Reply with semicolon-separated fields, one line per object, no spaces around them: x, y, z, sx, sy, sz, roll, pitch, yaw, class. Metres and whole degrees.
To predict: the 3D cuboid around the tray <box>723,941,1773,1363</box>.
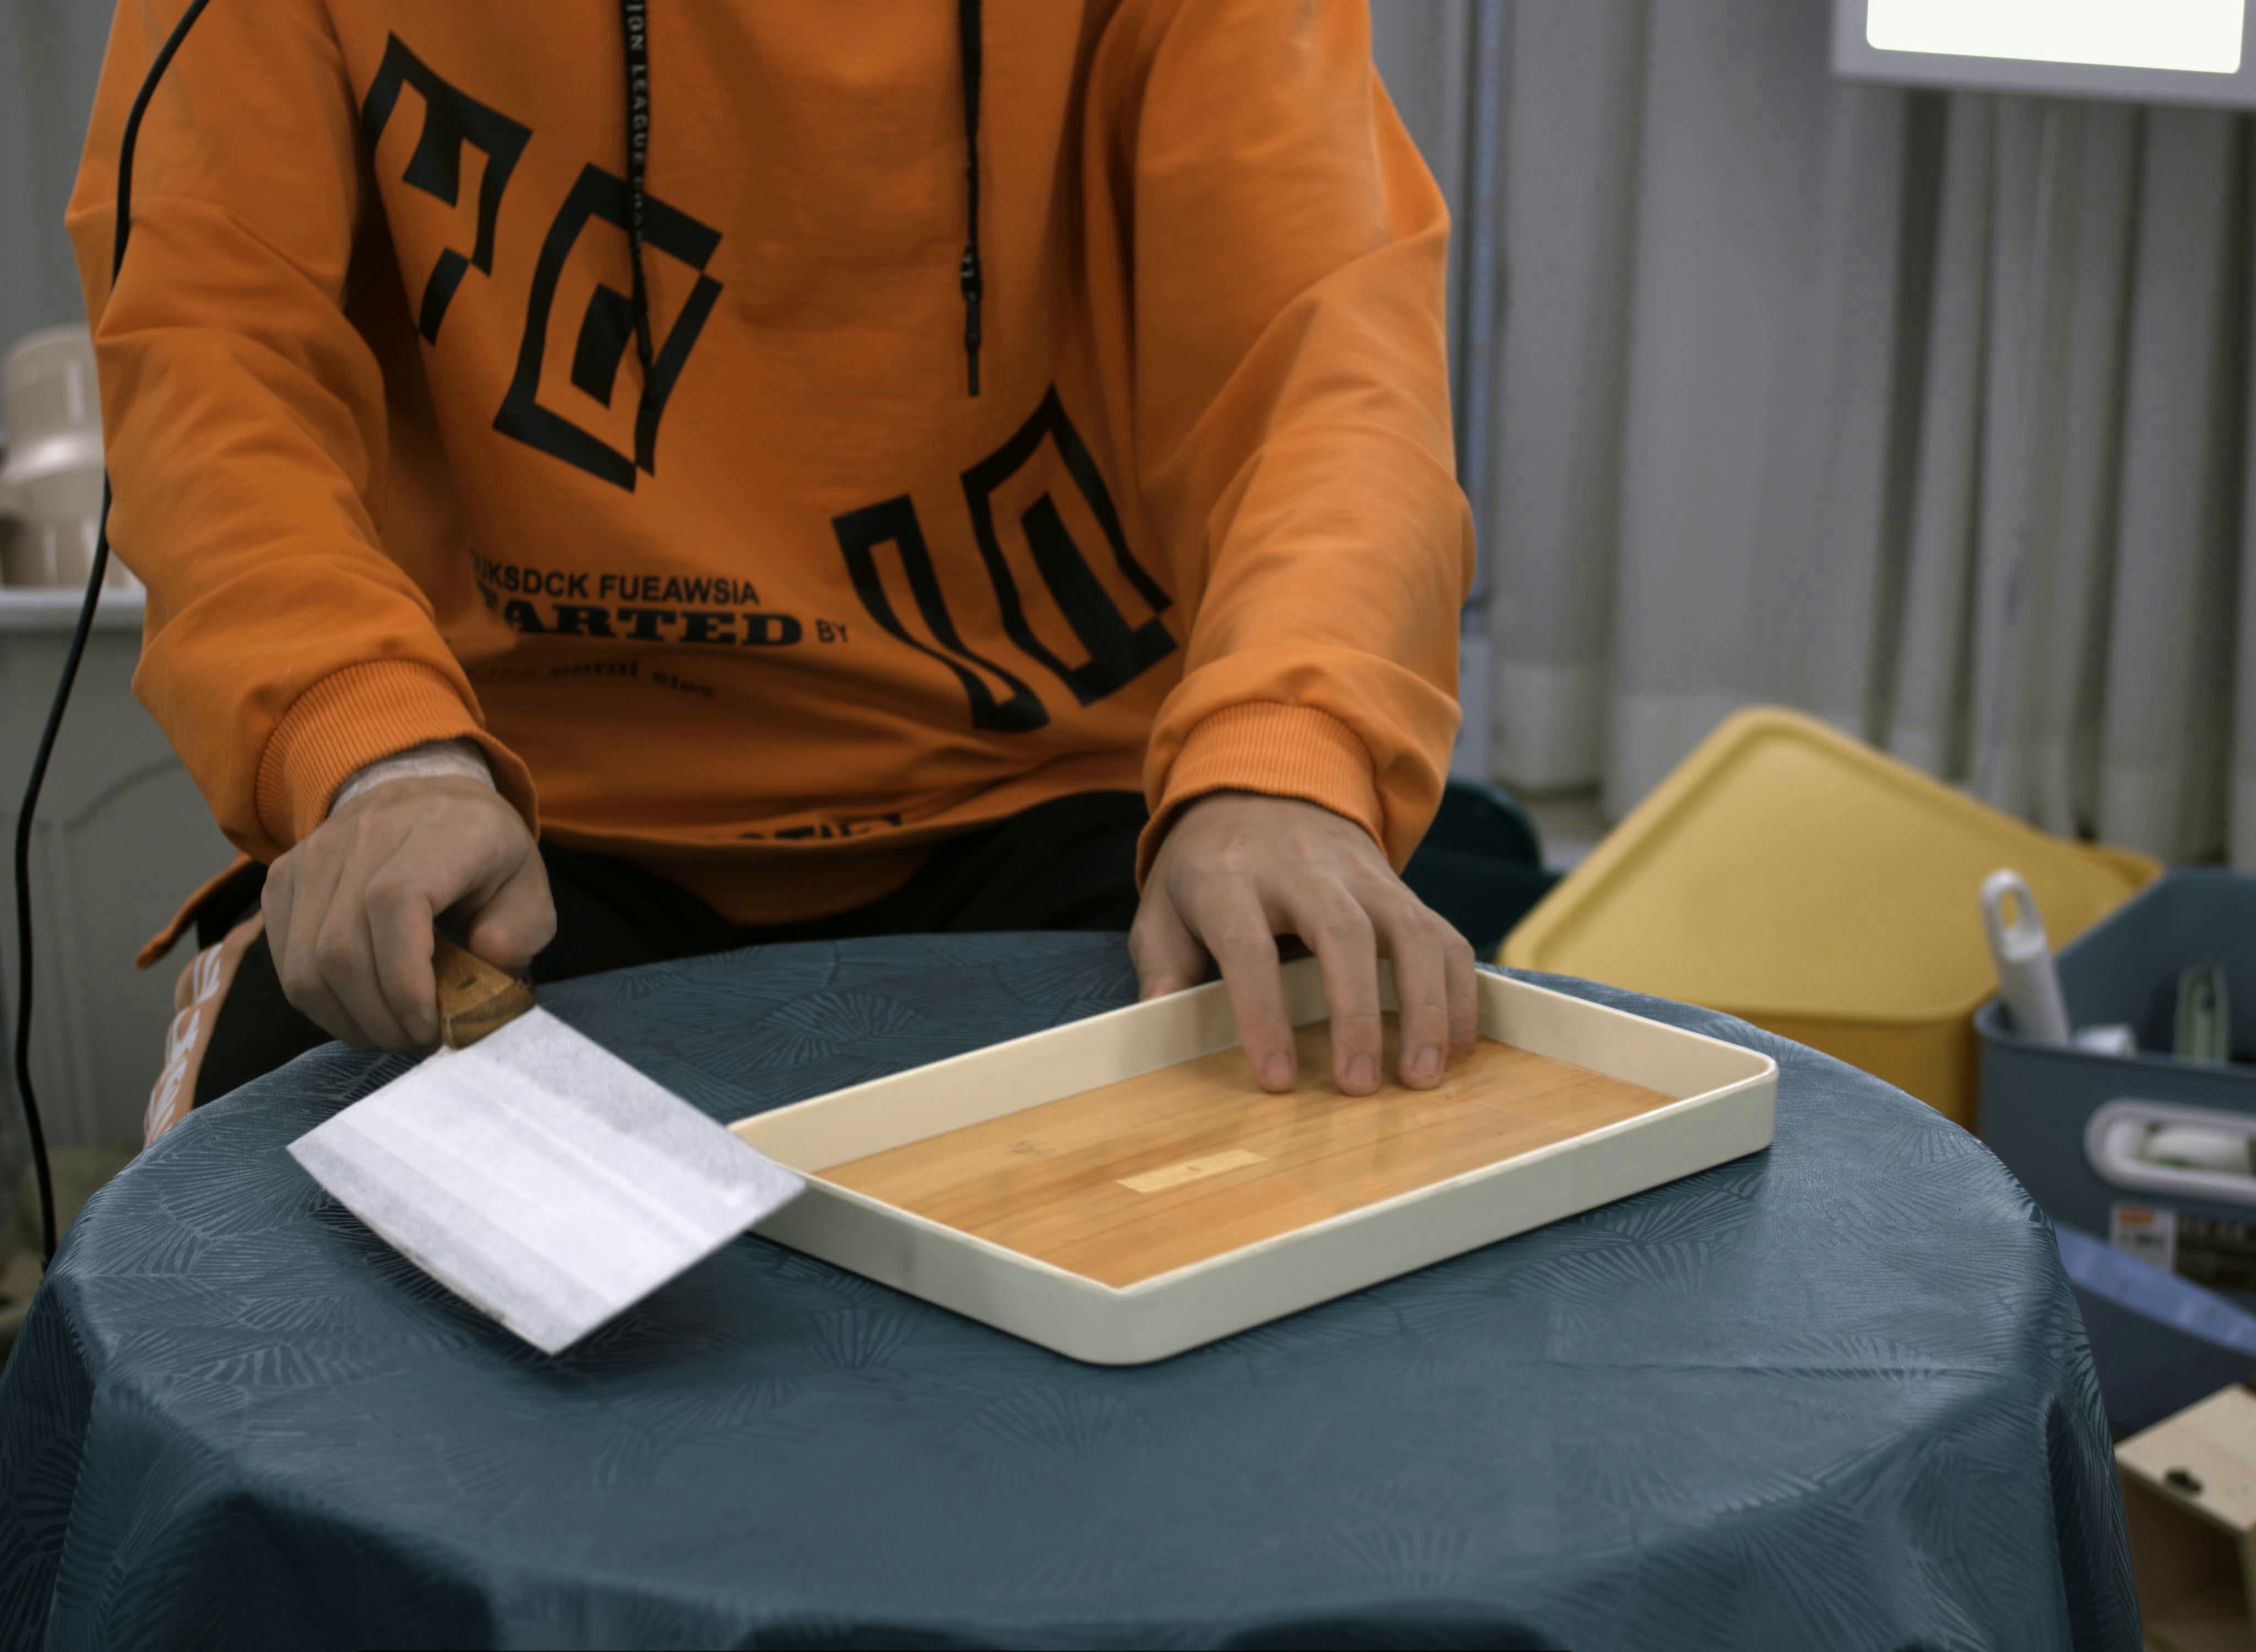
0.039;0.096;1.631;0.302;0.027;0.189;-14;22;-42;tray

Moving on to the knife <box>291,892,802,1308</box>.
-0.202;0.083;1.590;0.093;0.021;0.302;-34;30;-20;knife
